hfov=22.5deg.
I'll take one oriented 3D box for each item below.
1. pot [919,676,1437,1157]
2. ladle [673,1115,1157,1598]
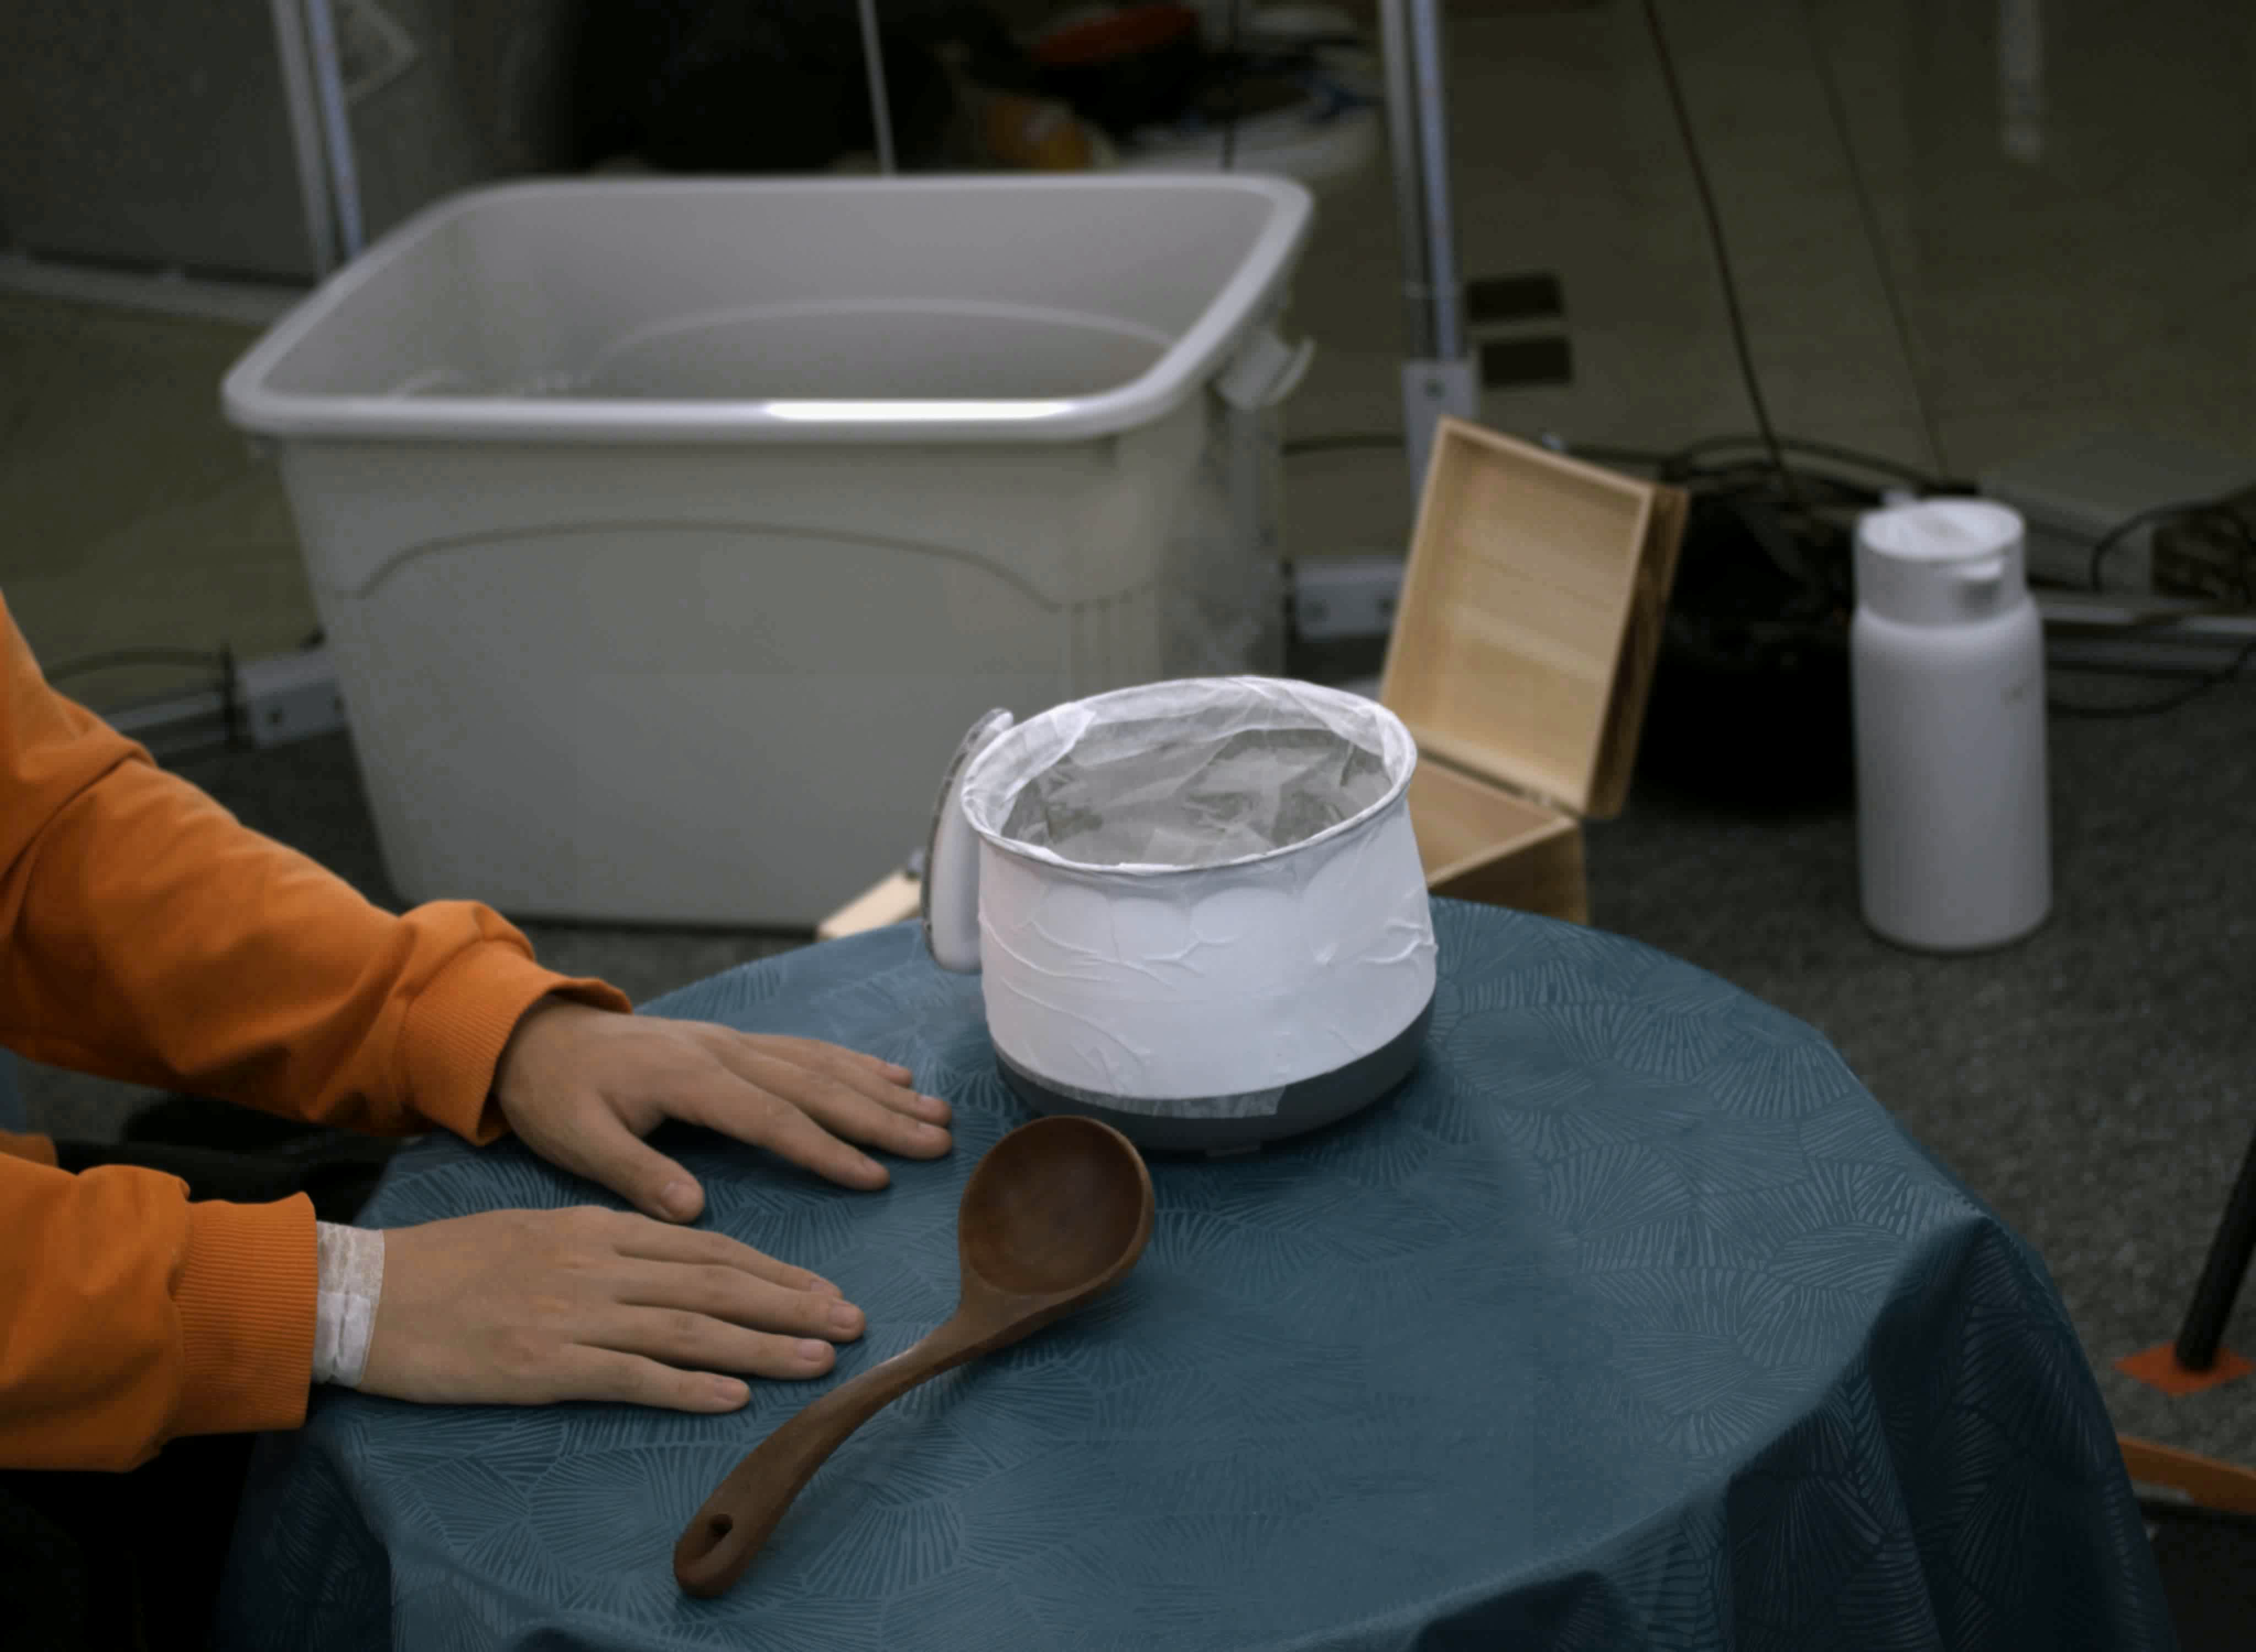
[{"bbox_3d":[0.008,0.030,2.213,0.232,0.139,0.177,15,32,37],"label":"pot"},{"bbox_3d":[-0.079,0.182,1.998,0.076,0.066,0.257,12,31,33],"label":"ladle"}]
